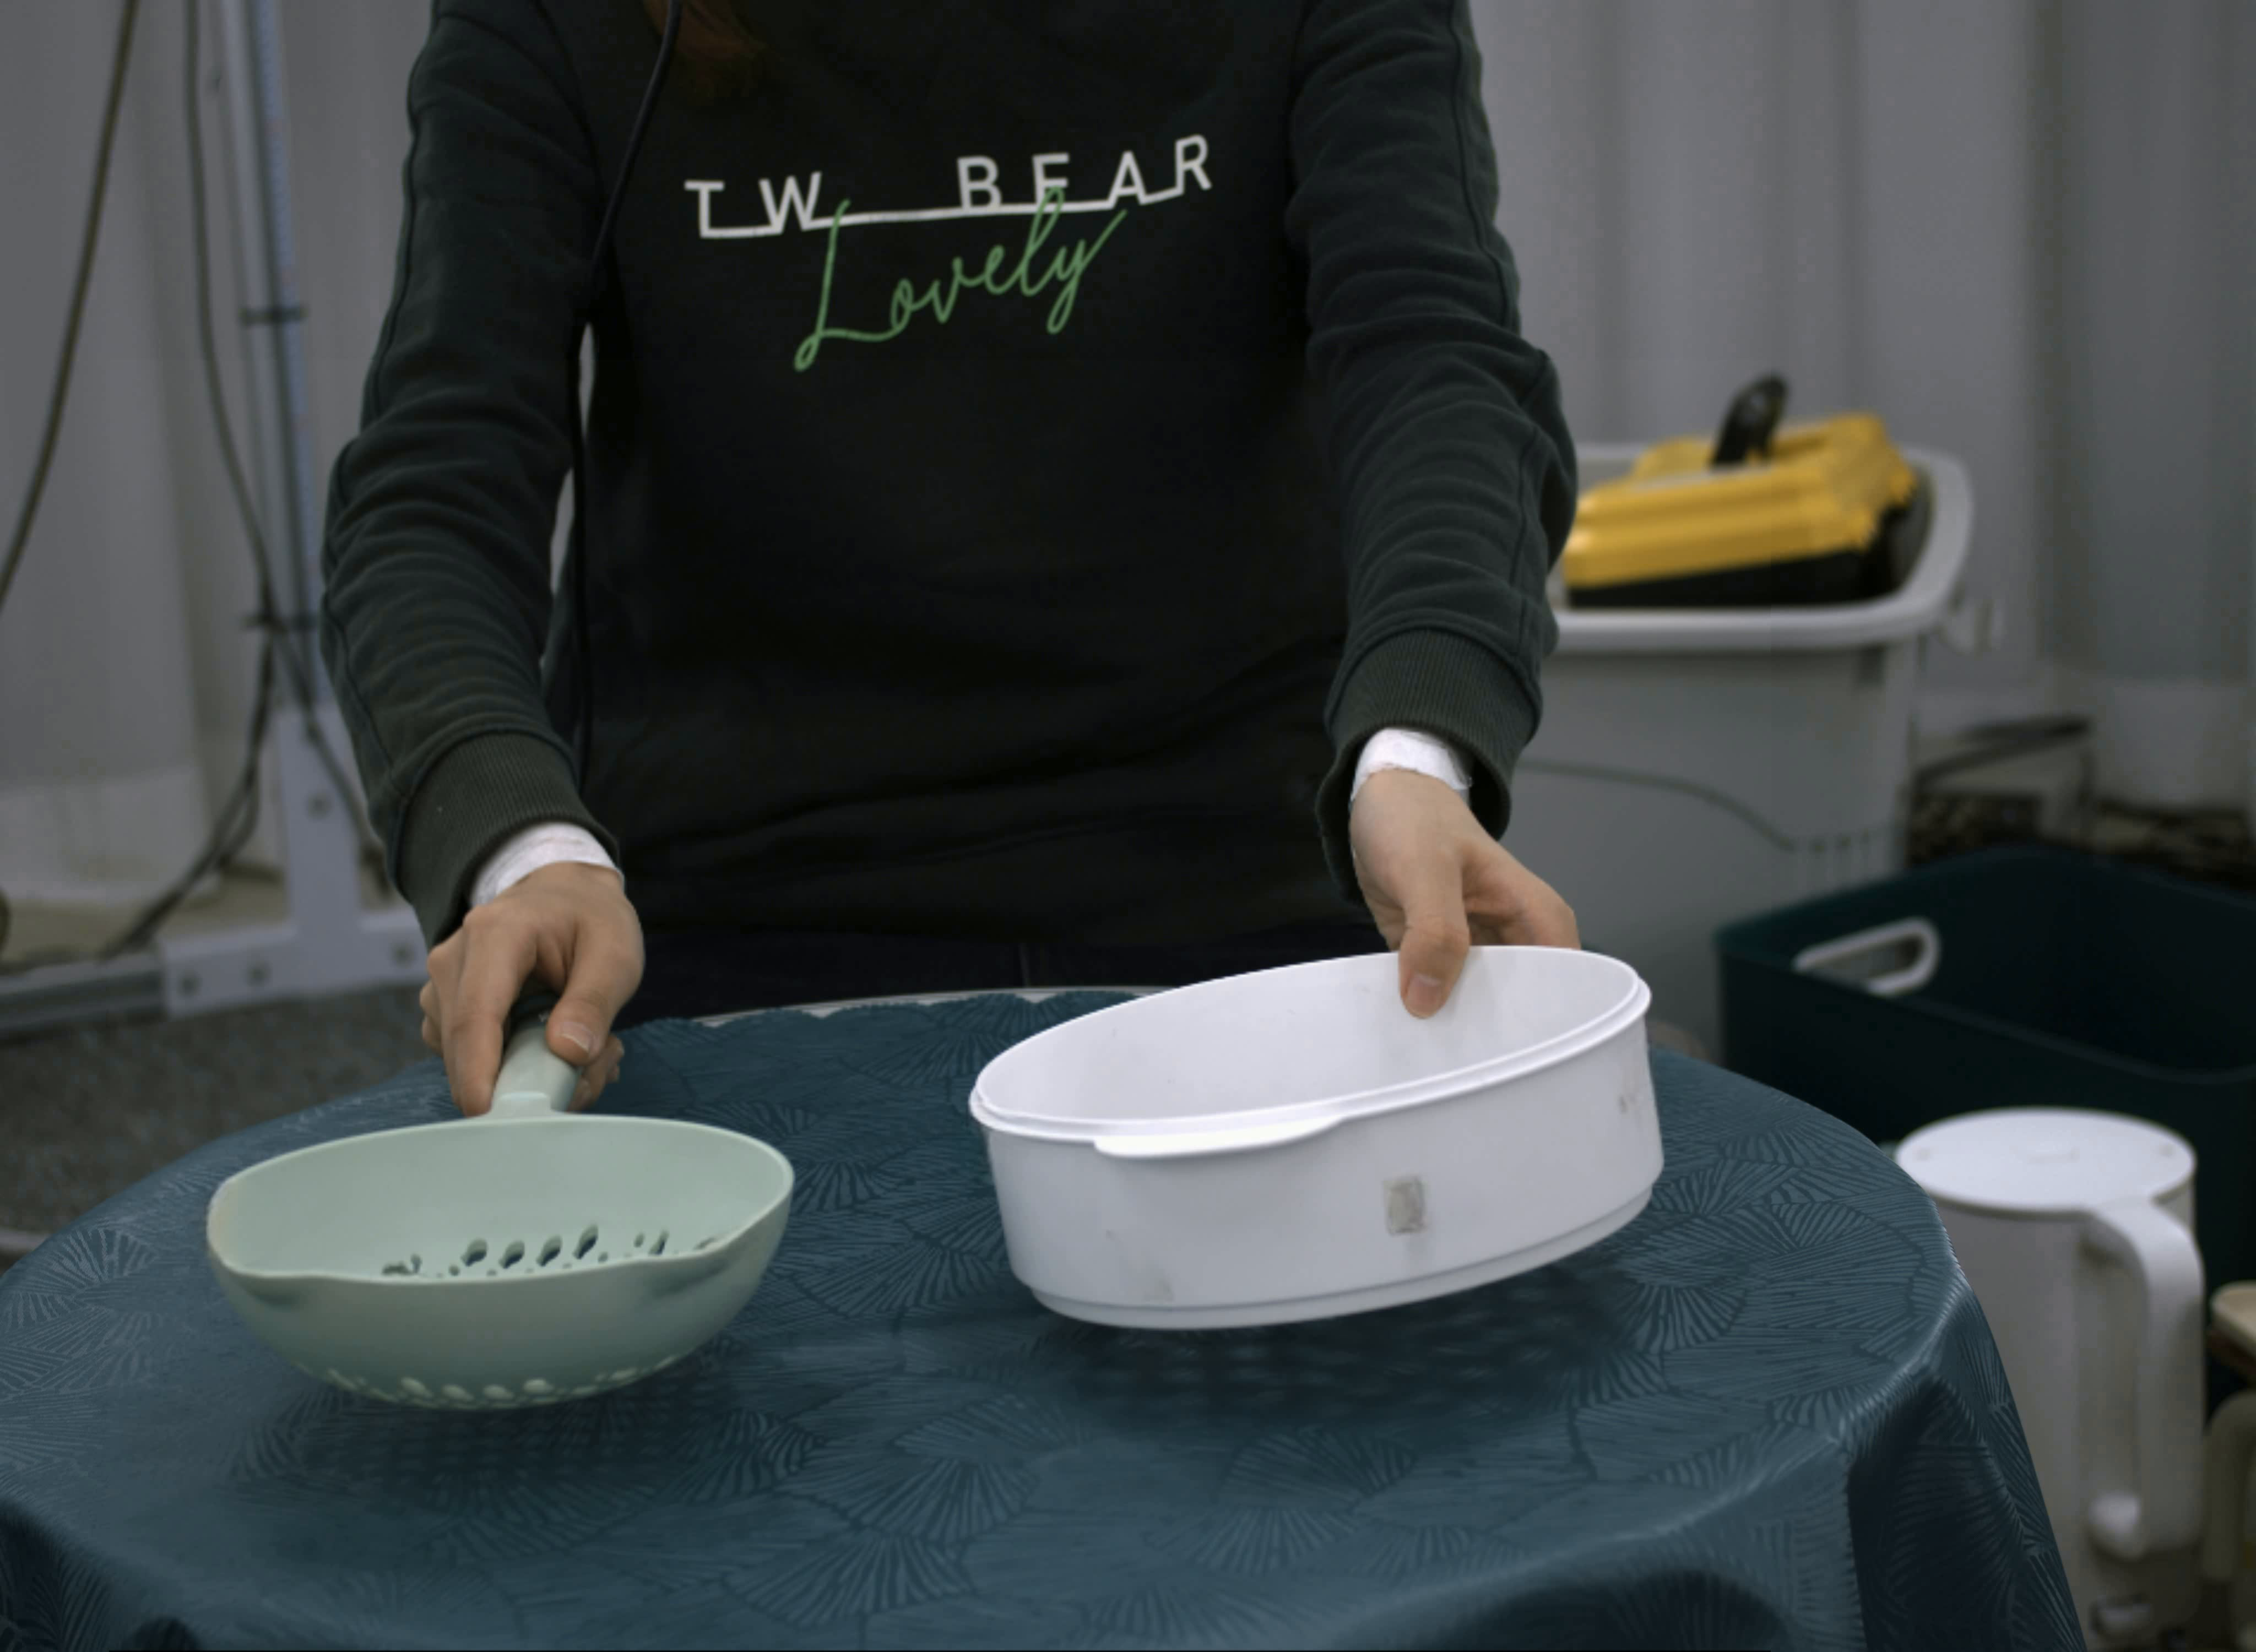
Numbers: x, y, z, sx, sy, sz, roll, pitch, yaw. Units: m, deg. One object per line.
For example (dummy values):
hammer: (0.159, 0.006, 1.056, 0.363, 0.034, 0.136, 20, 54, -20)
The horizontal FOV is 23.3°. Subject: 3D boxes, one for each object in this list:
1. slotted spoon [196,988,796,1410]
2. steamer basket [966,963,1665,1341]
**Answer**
slotted spoon: (-0.181, 0.096, 1.640, 0.169, 0.075, 0.362, -2, 19, -2)
steamer basket: (0.057, 0.094, 1.587, 0.201, 0.069, 0.231, -6, 10, 17)
